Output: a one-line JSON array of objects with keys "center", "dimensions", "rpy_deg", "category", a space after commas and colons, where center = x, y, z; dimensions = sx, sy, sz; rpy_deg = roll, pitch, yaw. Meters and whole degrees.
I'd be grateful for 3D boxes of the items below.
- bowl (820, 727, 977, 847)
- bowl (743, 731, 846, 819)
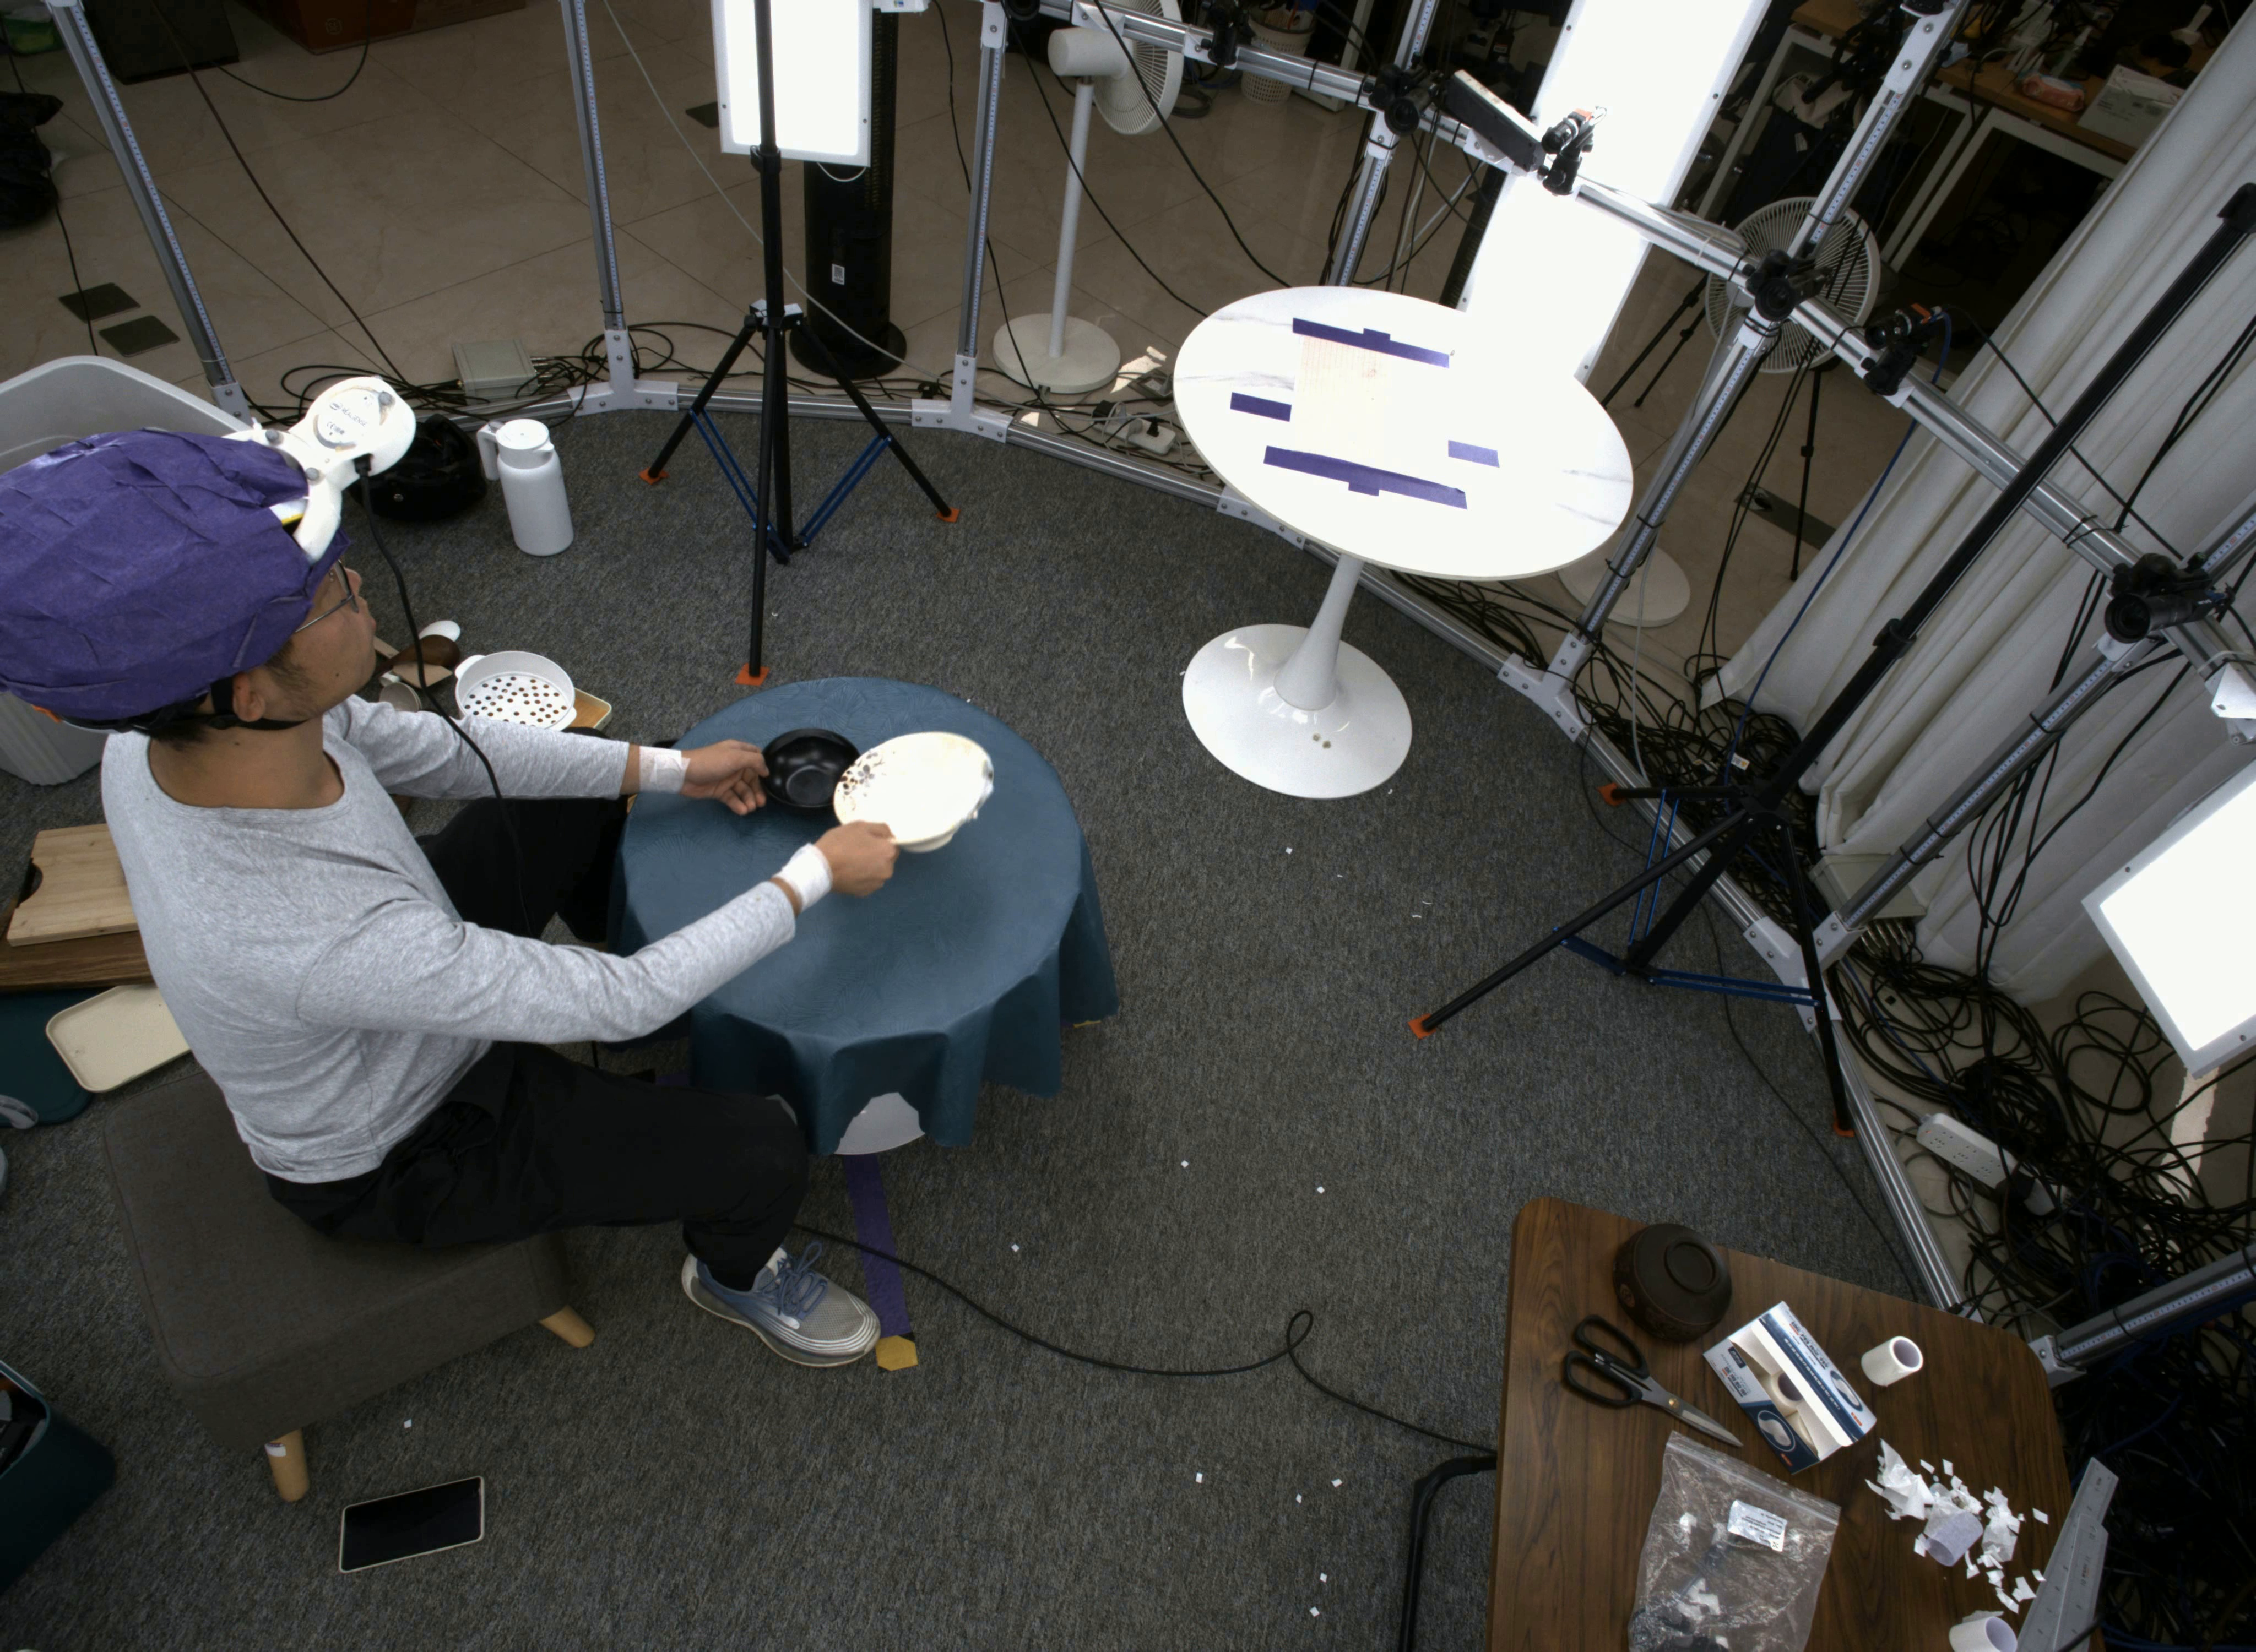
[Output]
[{"center": [-0.280, -0.033, 1.647], "dimensions": [0.200, 0.081, 0.200], "rpy_deg": [-6, 43, 7], "category": "bowl"}, {"center": [-0.445, -0.061, 1.746], "dimensions": [0.139, 0.051, 0.137], "rpy_deg": [5, 54, -5], "category": "bowl"}]
